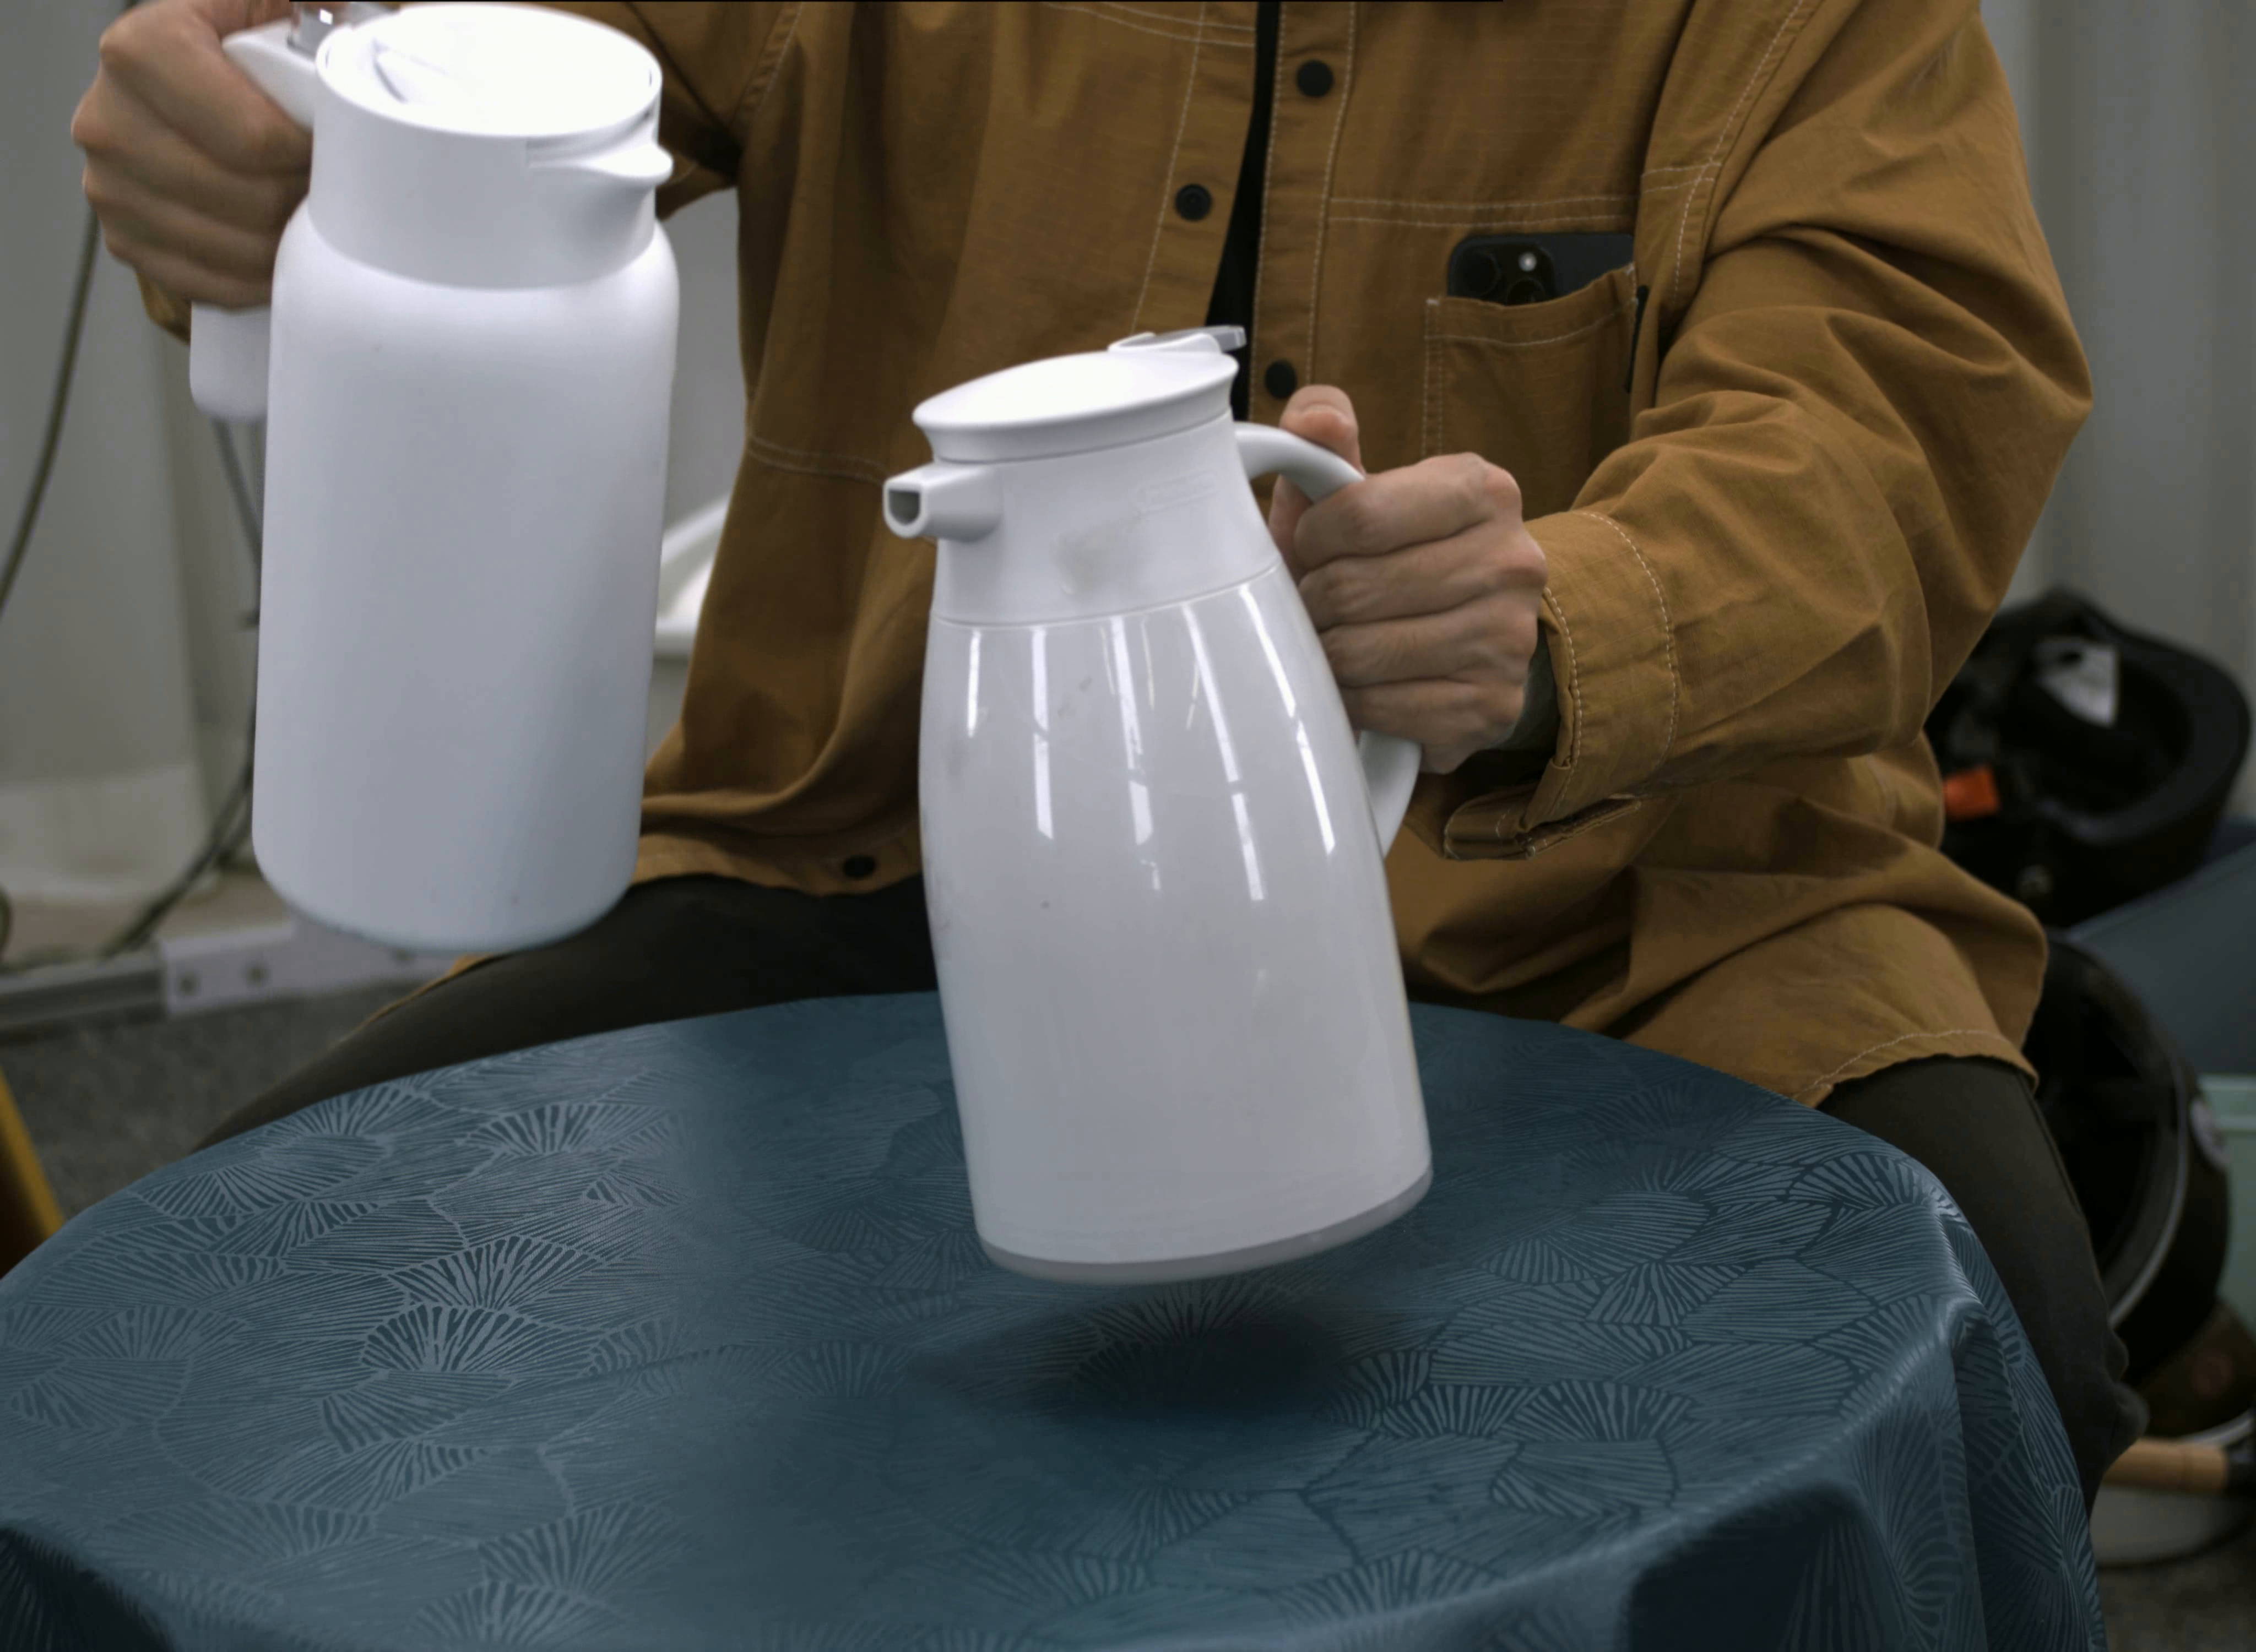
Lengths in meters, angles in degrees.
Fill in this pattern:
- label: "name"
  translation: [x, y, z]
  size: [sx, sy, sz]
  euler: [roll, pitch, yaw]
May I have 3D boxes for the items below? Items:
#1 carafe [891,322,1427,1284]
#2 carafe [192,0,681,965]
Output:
- label: "carafe"
  translation: [0.017, -0.015, 1.546]
  size: [0.167, 0.248, 0.133]
  euler: [-16, 14, -36]
- label: "carafe"
  translation: [-0.208, -0.105, 1.618]
  size: [0.174, 0.266, 0.124]
  euler: [25, 35, 31]
